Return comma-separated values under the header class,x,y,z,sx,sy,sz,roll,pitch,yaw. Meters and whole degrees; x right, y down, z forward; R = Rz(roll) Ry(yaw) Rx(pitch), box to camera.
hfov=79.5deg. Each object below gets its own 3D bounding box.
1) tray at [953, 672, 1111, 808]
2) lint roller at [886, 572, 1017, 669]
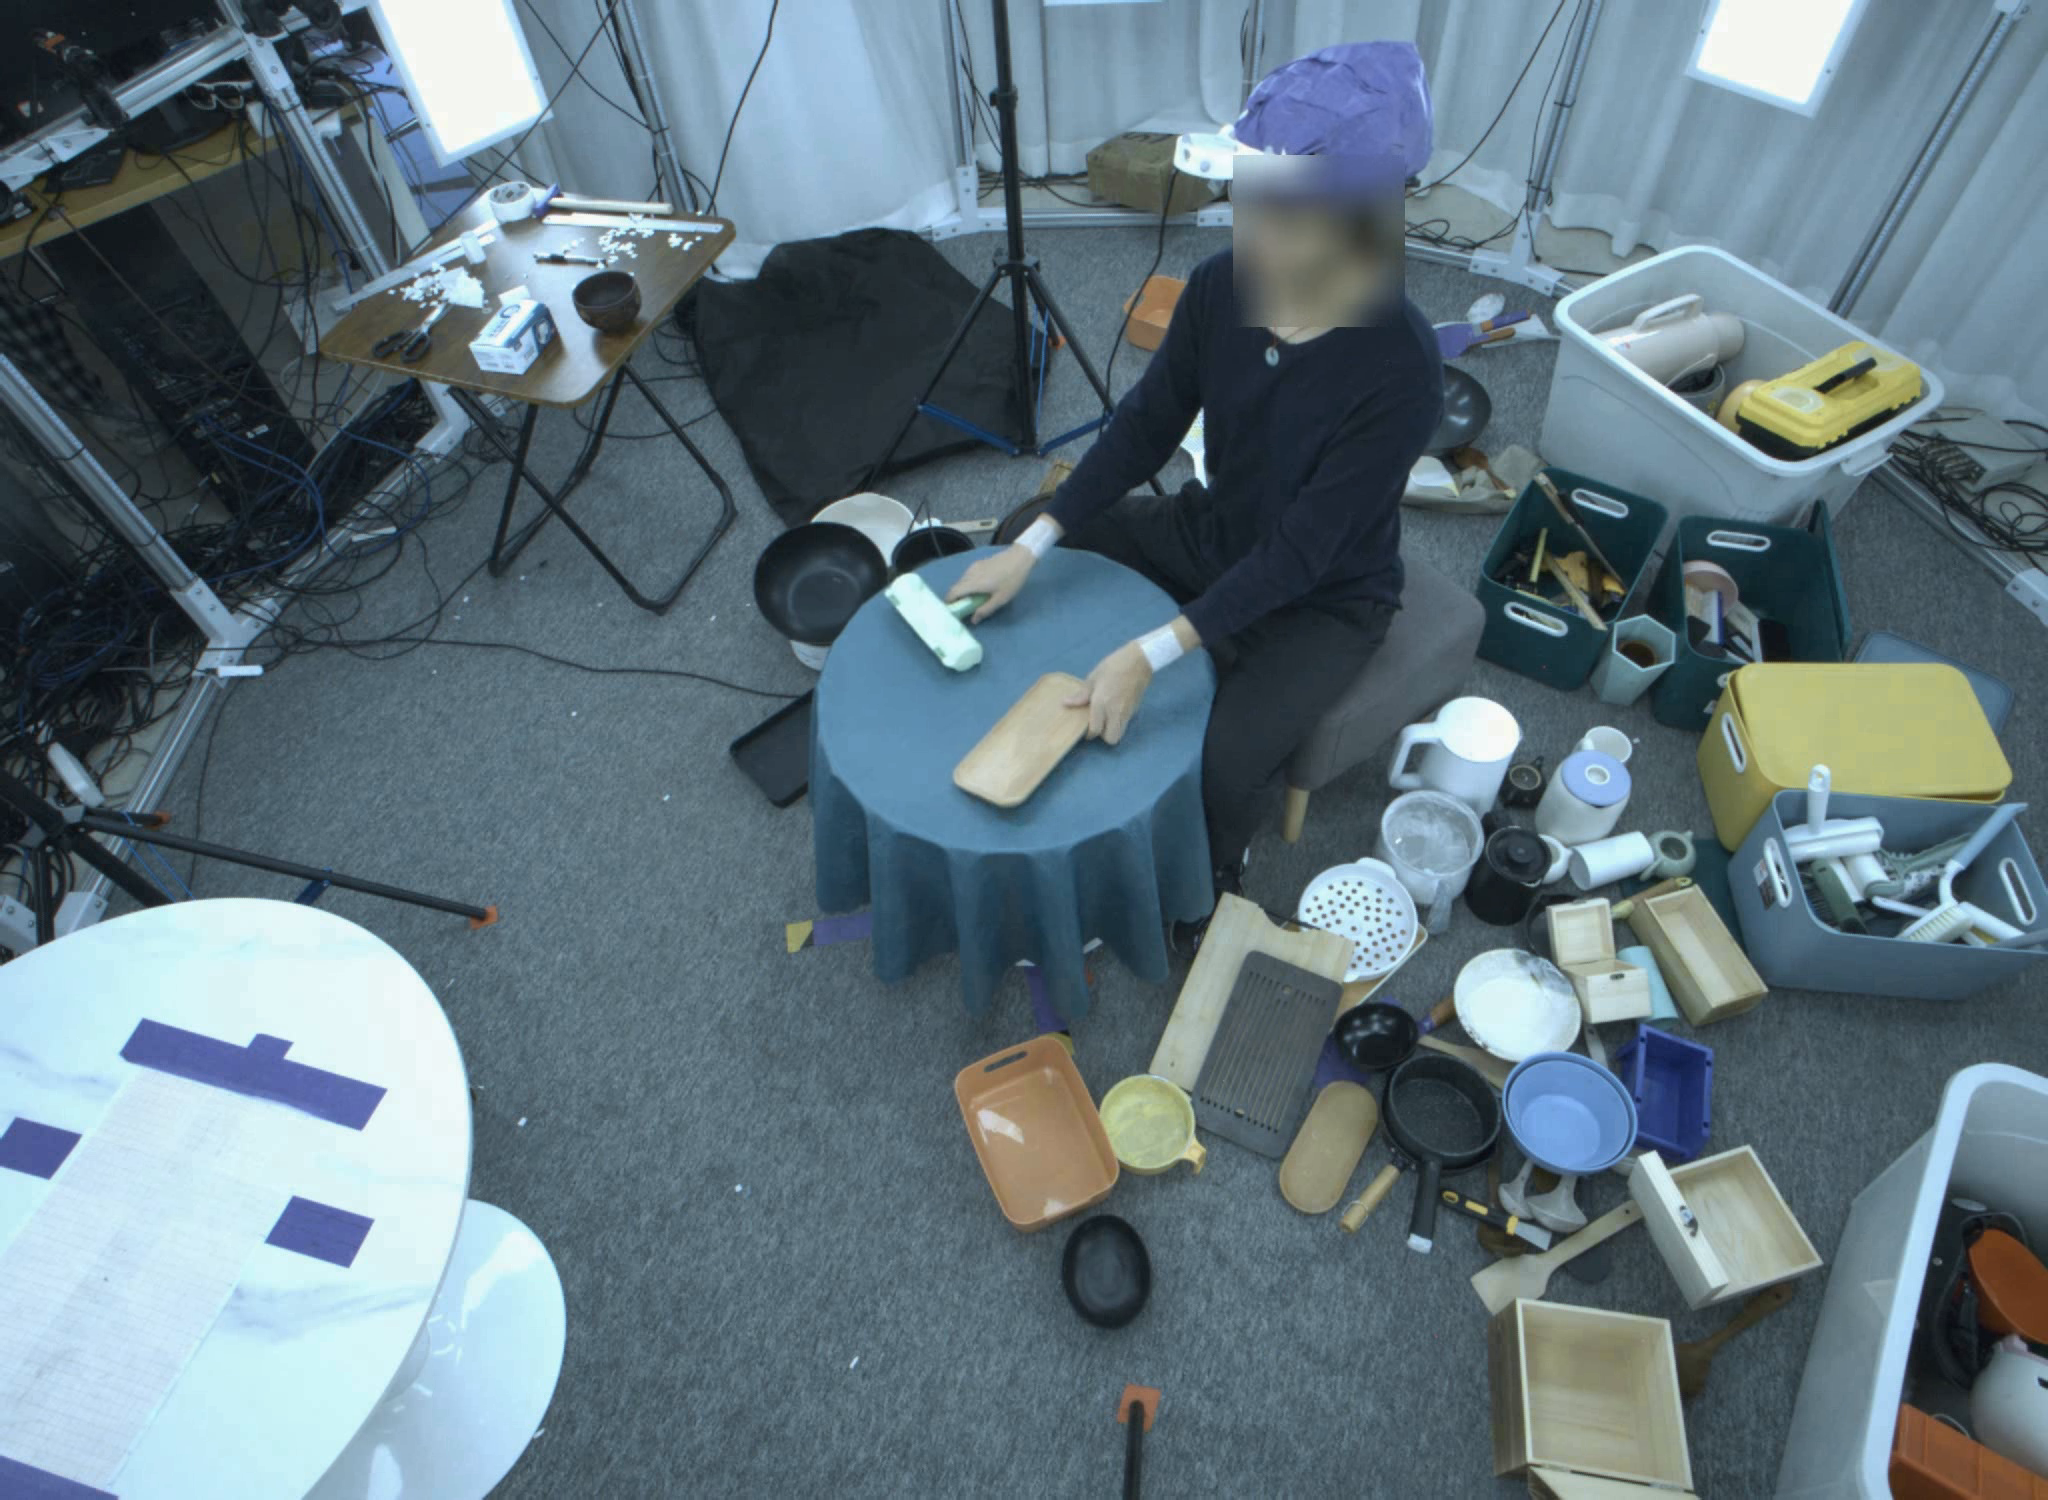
class,x,y,z,sx,sy,sz,roll,pitch,yaw
tray,0.013,-0.017,1.775,0.128,0.023,0.252,26,58,31
lint roller,-0.093,-0.236,1.900,0.184,0.083,0.195,-35,61,-10
